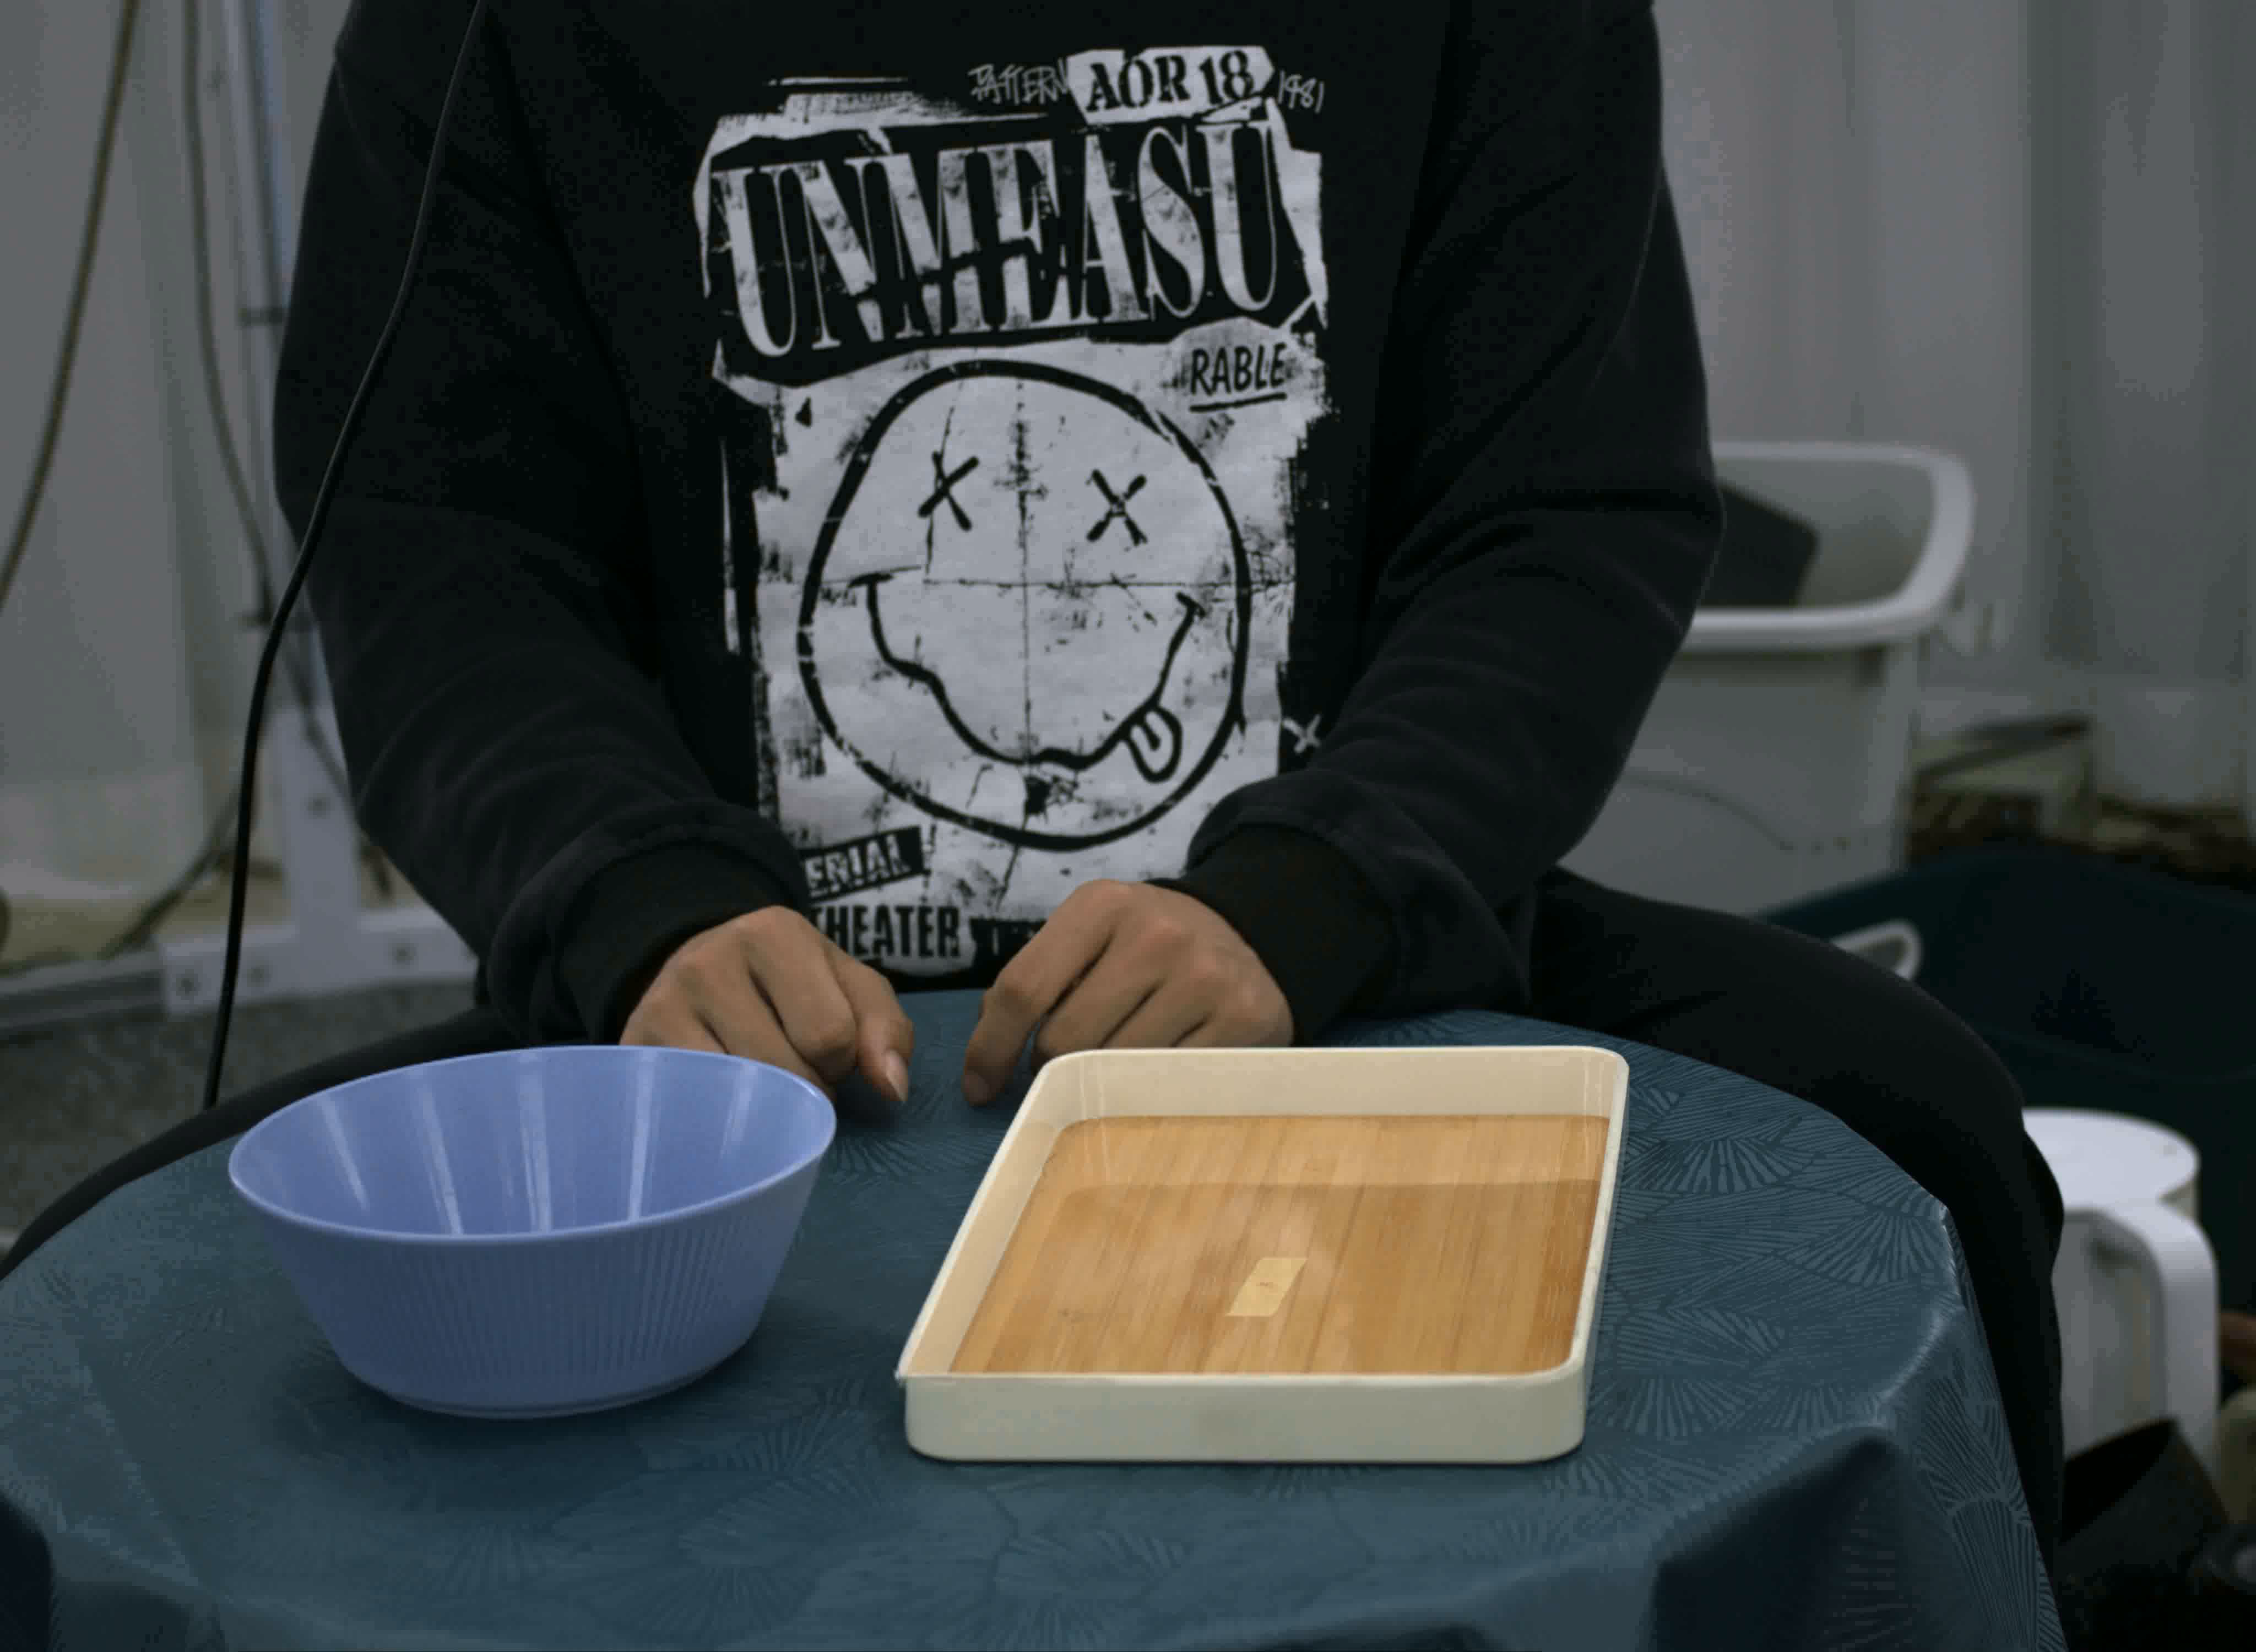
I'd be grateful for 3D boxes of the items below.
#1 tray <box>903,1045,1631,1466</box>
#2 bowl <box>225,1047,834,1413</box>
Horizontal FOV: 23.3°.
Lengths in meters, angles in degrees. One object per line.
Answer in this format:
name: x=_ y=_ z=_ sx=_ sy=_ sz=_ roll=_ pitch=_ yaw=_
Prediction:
tray: x=0.049 y=0.124 z=1.622 sx=0.191 sy=0.027 sz=0.302 roll=-1 pitch=15 yaw=8
bowl: x=-0.172 y=0.120 z=1.589 sx=0.175 sy=0.070 sz=0.177 roll=-2 pitch=15 yaw=0
